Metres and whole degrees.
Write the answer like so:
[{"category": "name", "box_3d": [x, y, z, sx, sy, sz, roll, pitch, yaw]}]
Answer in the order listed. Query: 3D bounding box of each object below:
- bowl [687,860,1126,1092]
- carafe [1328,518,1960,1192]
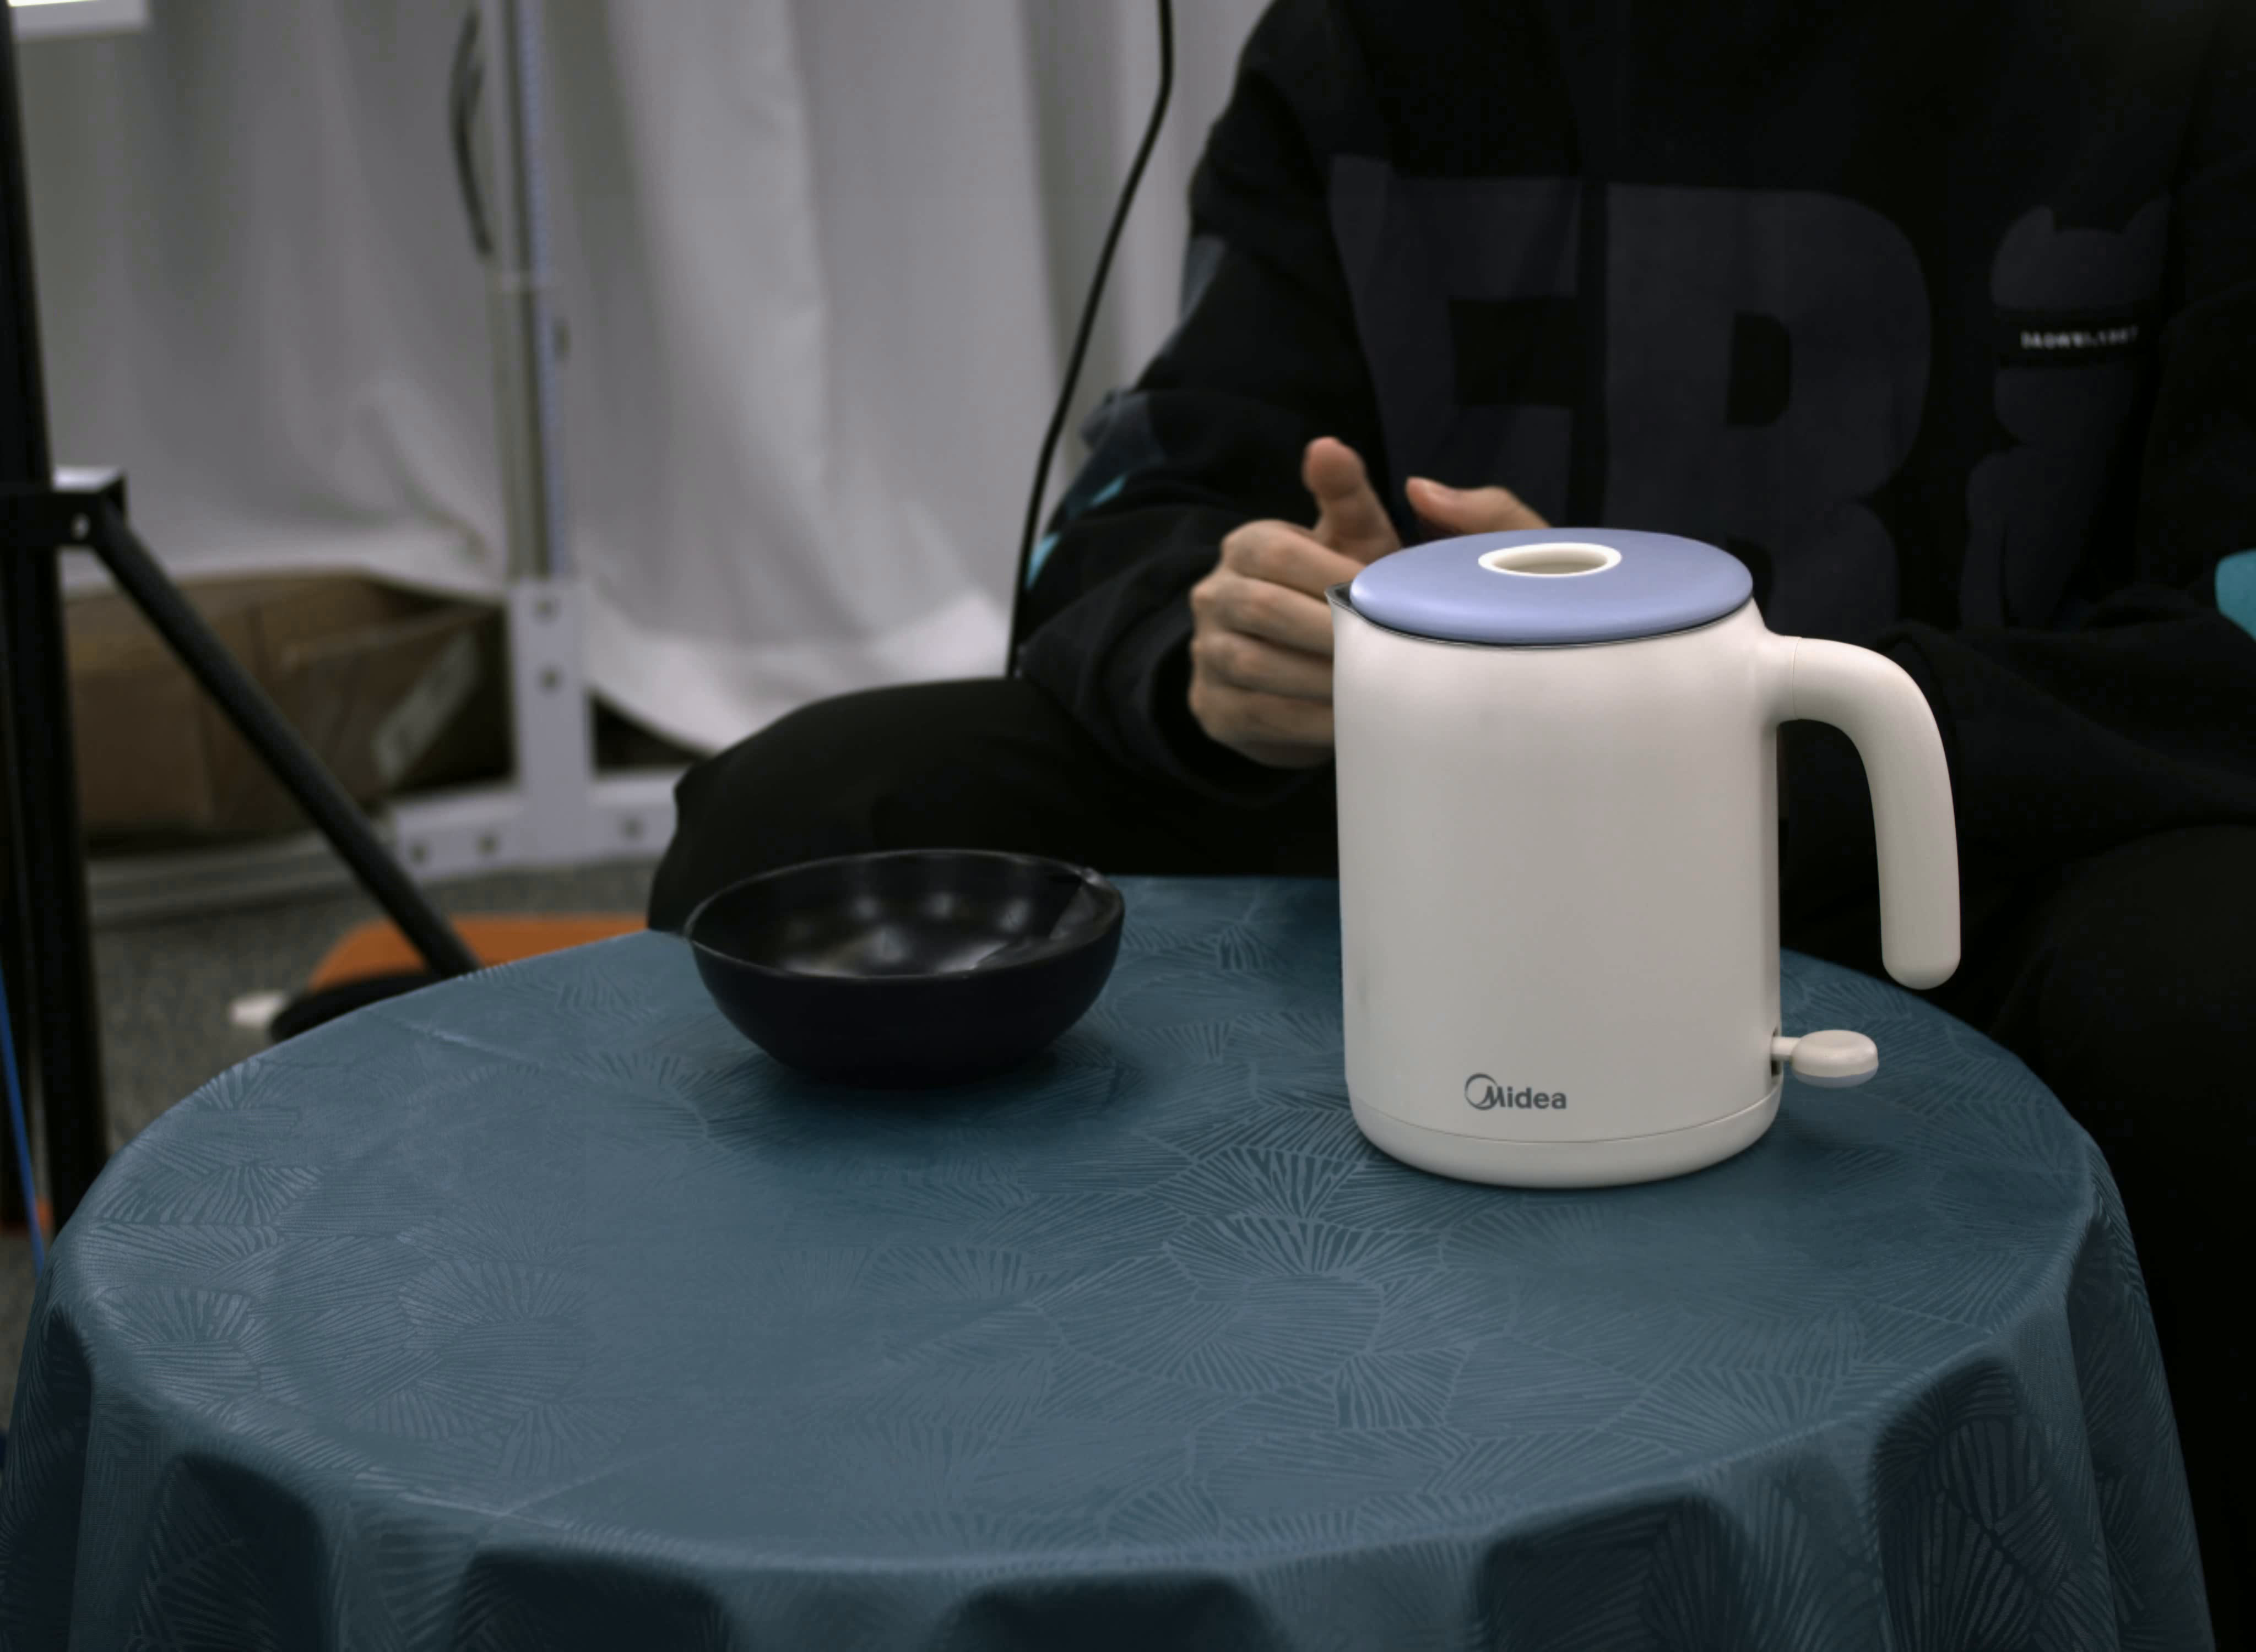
[{"category": "bowl", "box_3d": [-0.069, 0.051, 1.683, 0.139, 0.050, 0.140, -3, 13, -1]}, {"category": "carafe", "box_3d": [0.151, 0.010, 1.566, 0.193, 0.182, 0.131, 5, 18, 16]}]
